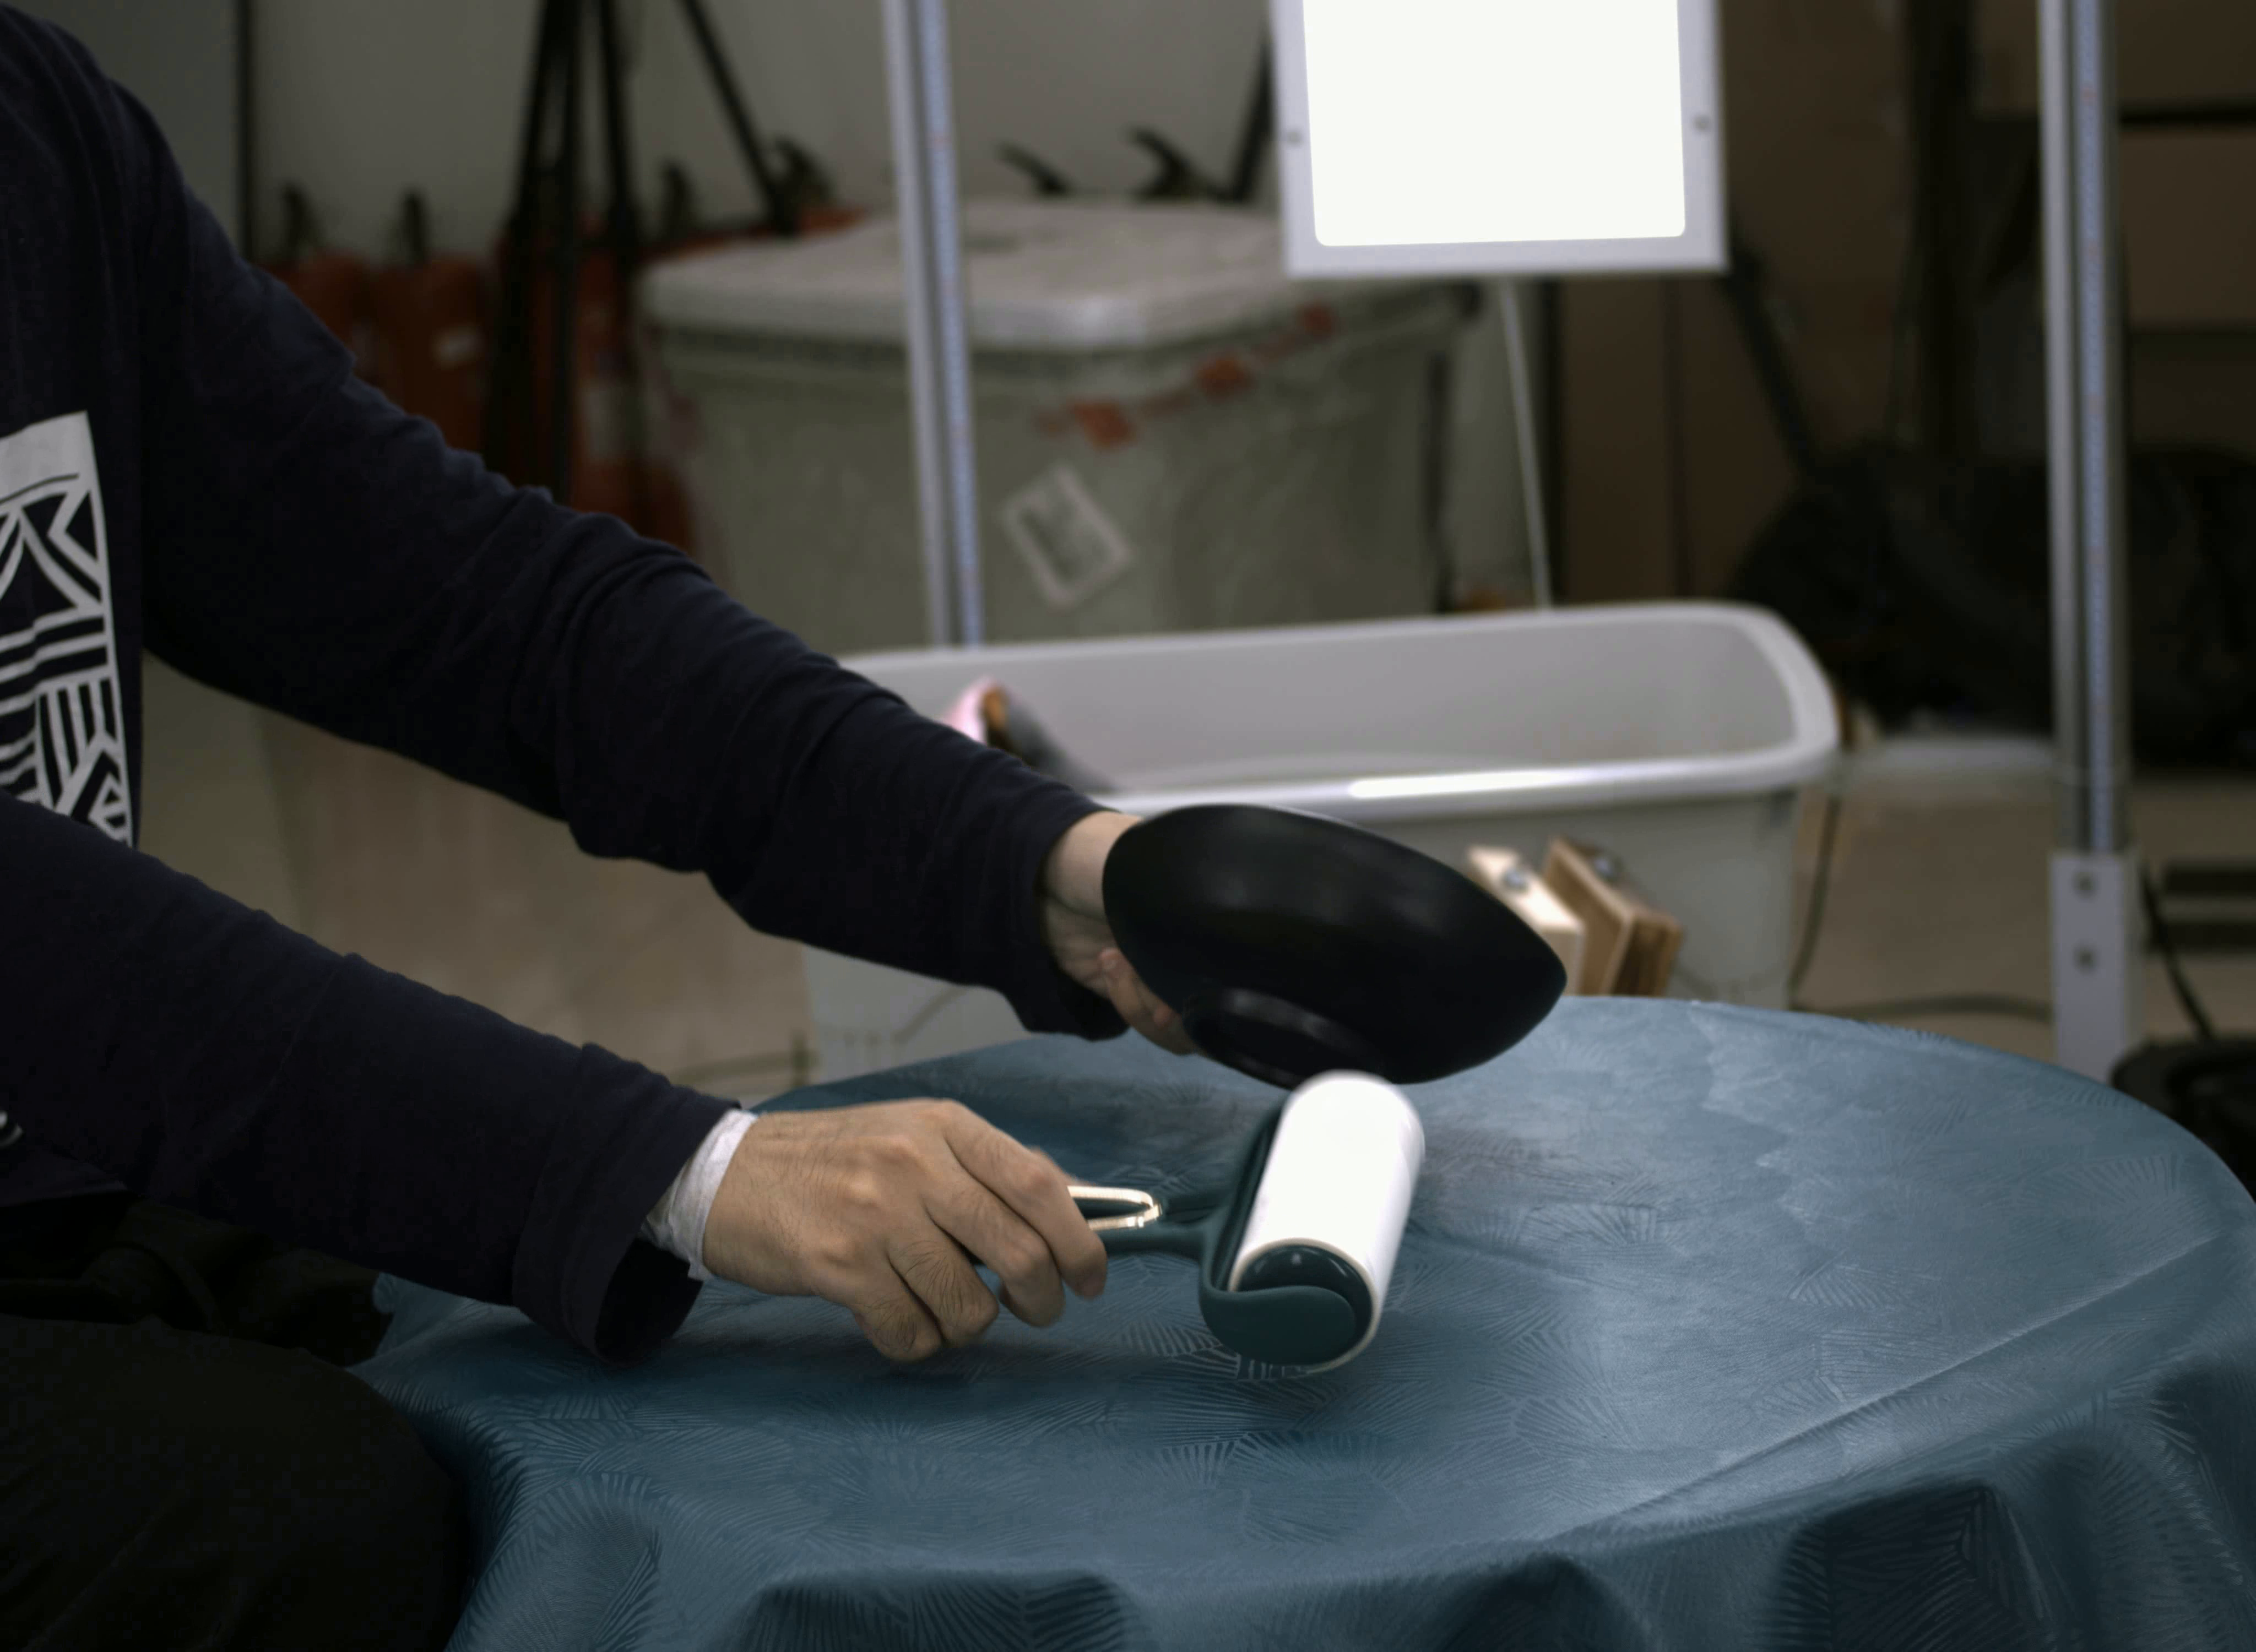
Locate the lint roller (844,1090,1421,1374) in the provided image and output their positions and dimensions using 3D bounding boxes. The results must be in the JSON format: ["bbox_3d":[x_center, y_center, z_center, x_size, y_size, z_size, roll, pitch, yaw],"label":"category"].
[{"bbox_3d":[-0.002,0.124,1.722,0.181,0.048,0.133,1,25,12],"label":"lint roller"}]

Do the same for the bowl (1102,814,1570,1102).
[{"bbox_3d":[0.064,0.052,1.881,0.173,0.066,0.136,11,-21,25],"label":"bowl"}]
